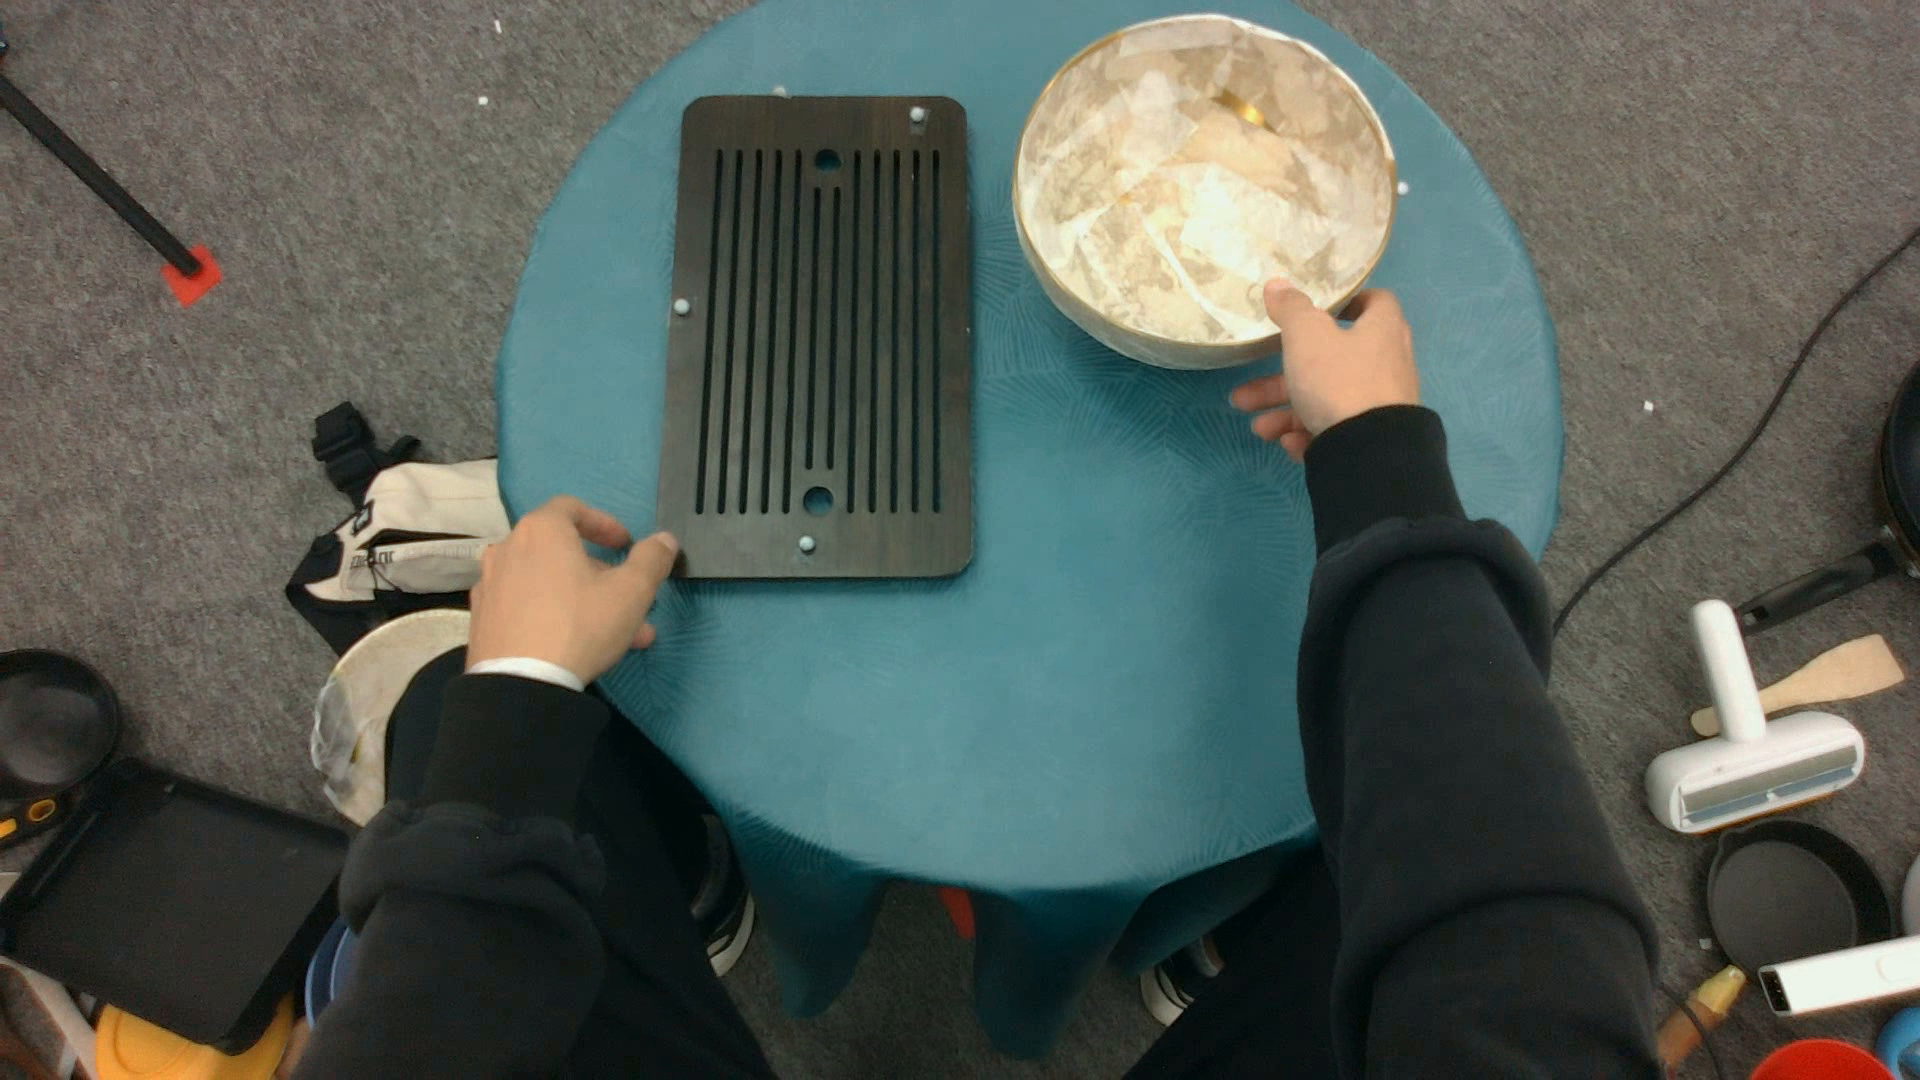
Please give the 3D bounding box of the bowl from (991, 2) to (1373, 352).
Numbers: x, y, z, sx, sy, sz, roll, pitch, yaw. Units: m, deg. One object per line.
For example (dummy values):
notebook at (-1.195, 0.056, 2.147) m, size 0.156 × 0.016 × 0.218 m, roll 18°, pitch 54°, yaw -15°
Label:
bowl at (0.113, -0.184, 0.762) m, size 0.215 × 0.094 × 0.215 m, roll 1°, pitch 71°, yaw -2°

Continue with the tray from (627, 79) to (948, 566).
tray at (-0.093, -0.130, 0.779) m, size 0.170 × 0.018 × 0.307 m, roll -1°, pitch 70°, yaw -1°
